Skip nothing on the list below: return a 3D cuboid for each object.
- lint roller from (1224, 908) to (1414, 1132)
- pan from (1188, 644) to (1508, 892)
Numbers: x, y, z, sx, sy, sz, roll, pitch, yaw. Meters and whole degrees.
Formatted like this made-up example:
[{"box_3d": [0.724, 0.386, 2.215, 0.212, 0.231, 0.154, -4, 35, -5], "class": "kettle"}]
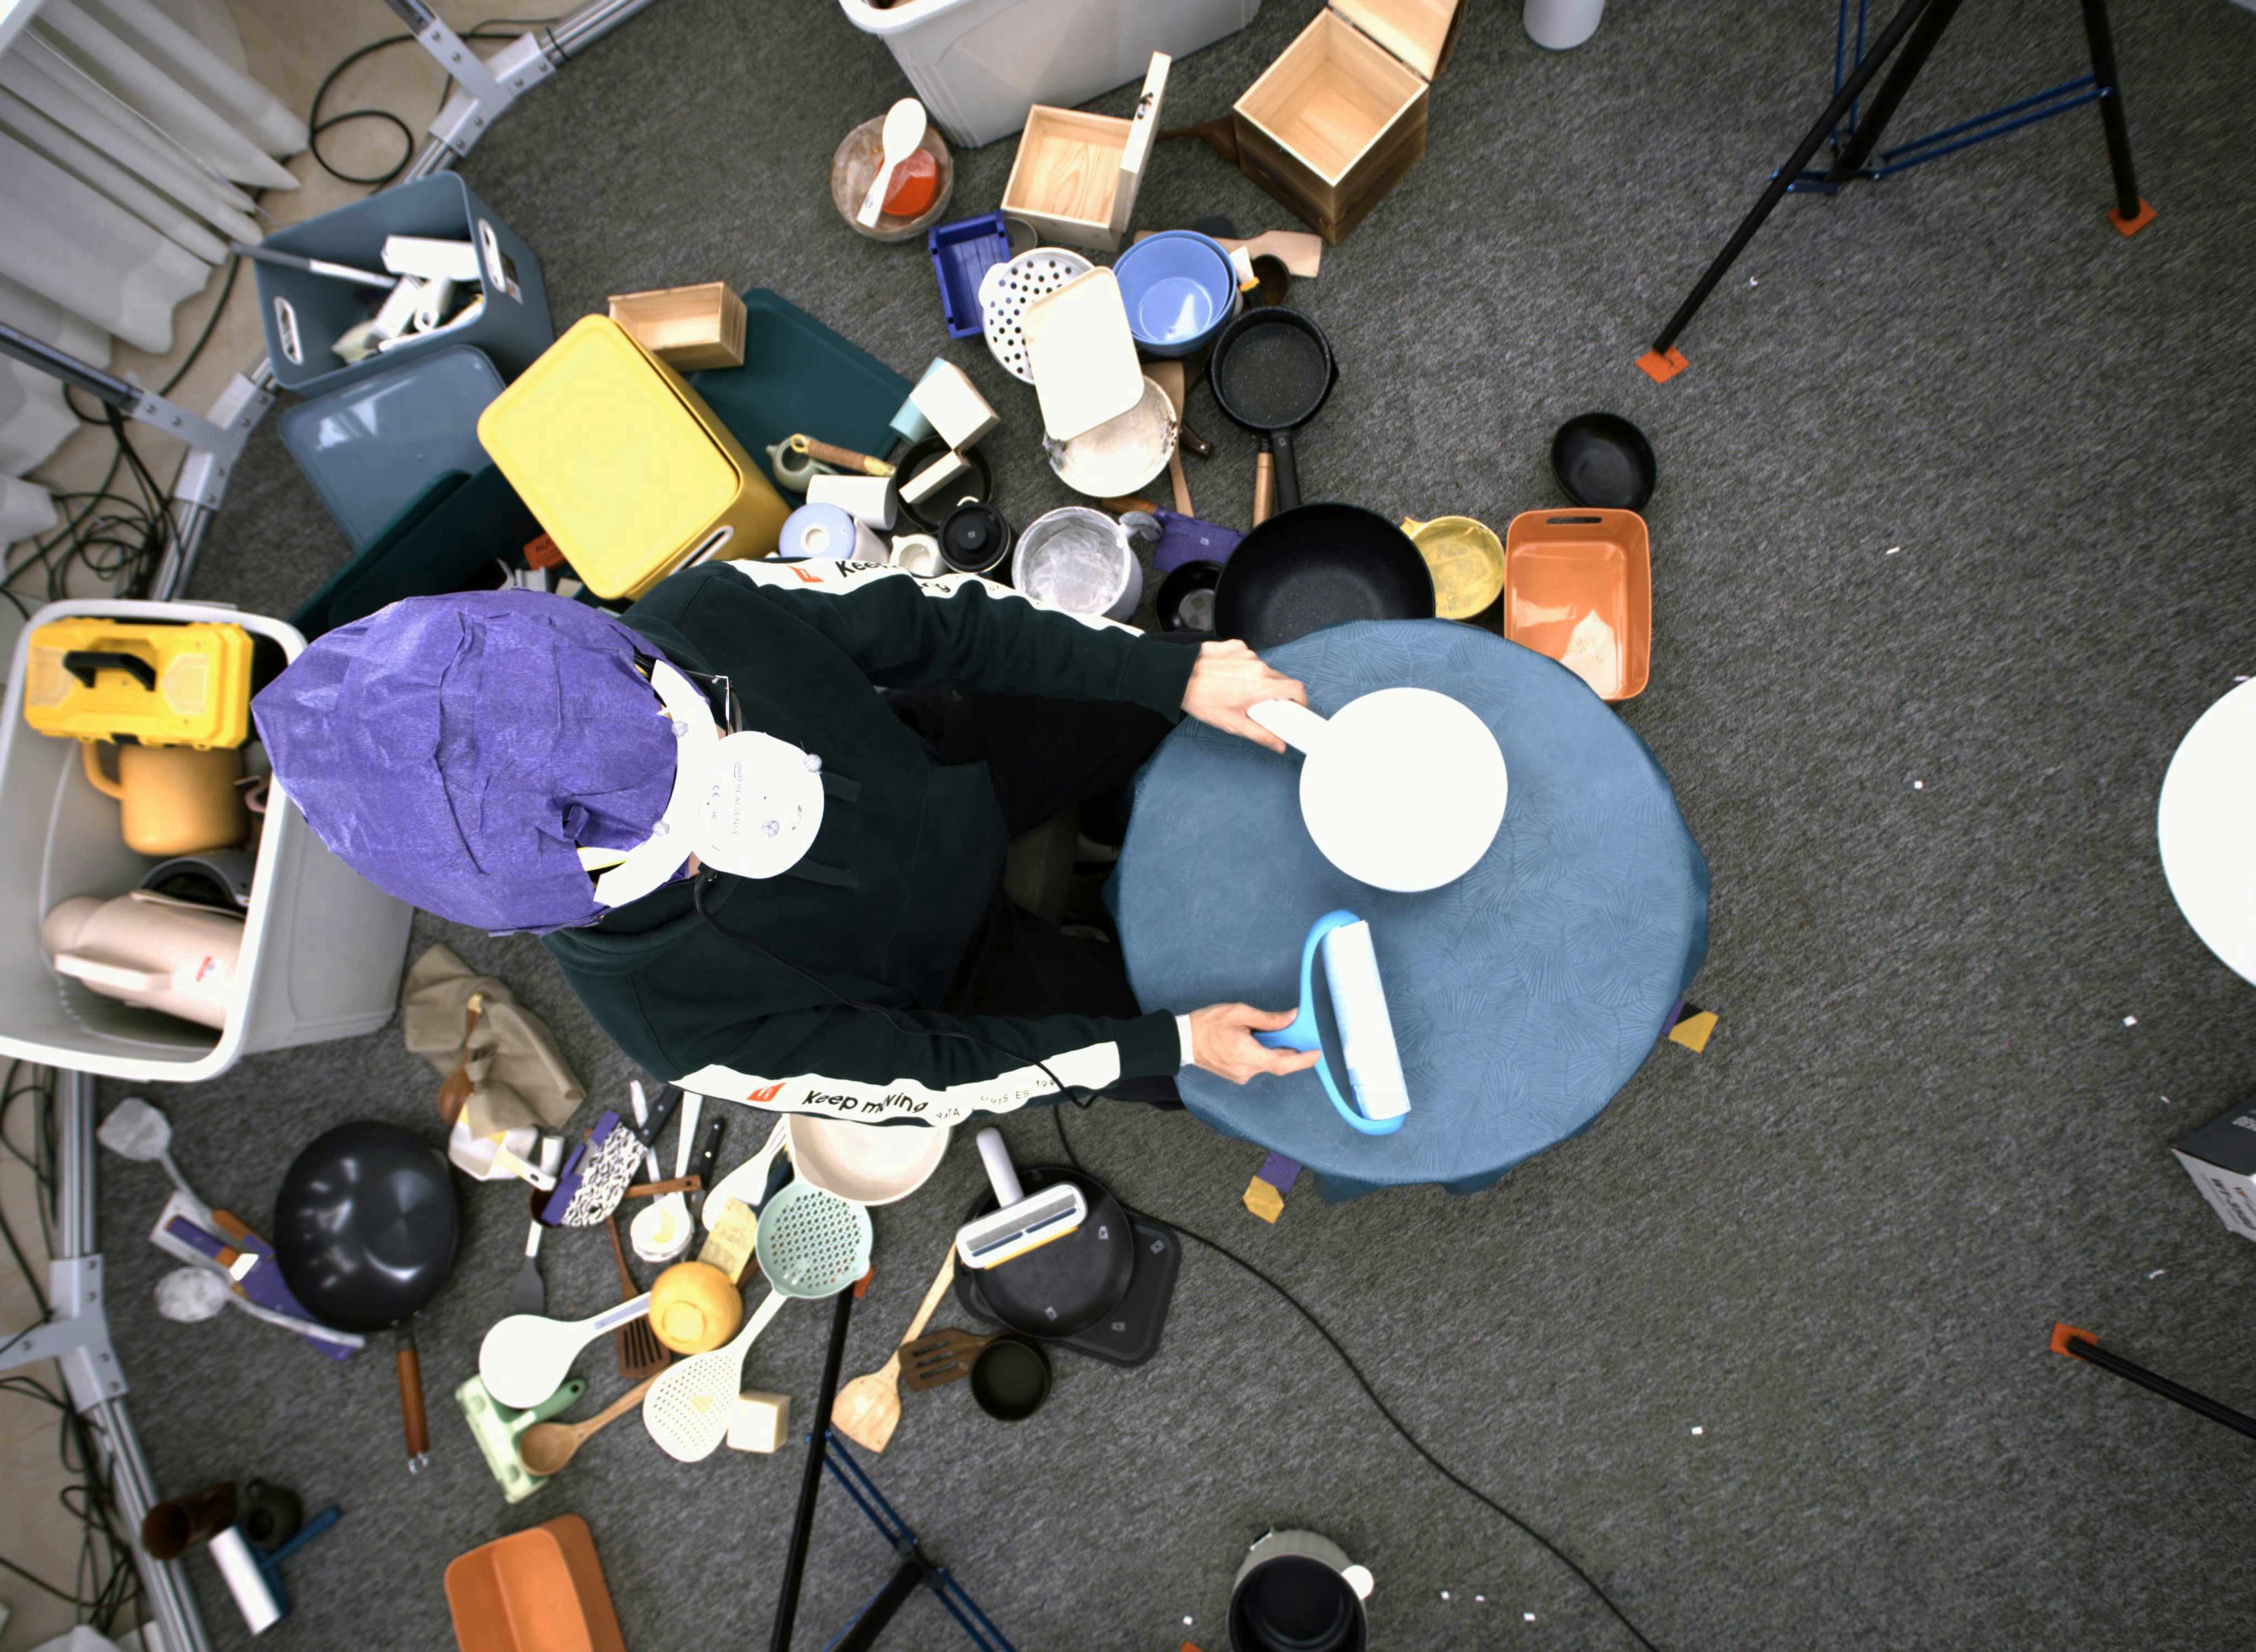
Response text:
[{"box_3d": [0.183, 0.210, 1.410, 0.181, 0.068, 0.228, -16, 87, 10], "class": "lint roller"}, {"box_3d": [0.221, -0.074, 1.421, 0.353, 0.102, 0.202, 34, 94, 17], "class": "pan"}]
